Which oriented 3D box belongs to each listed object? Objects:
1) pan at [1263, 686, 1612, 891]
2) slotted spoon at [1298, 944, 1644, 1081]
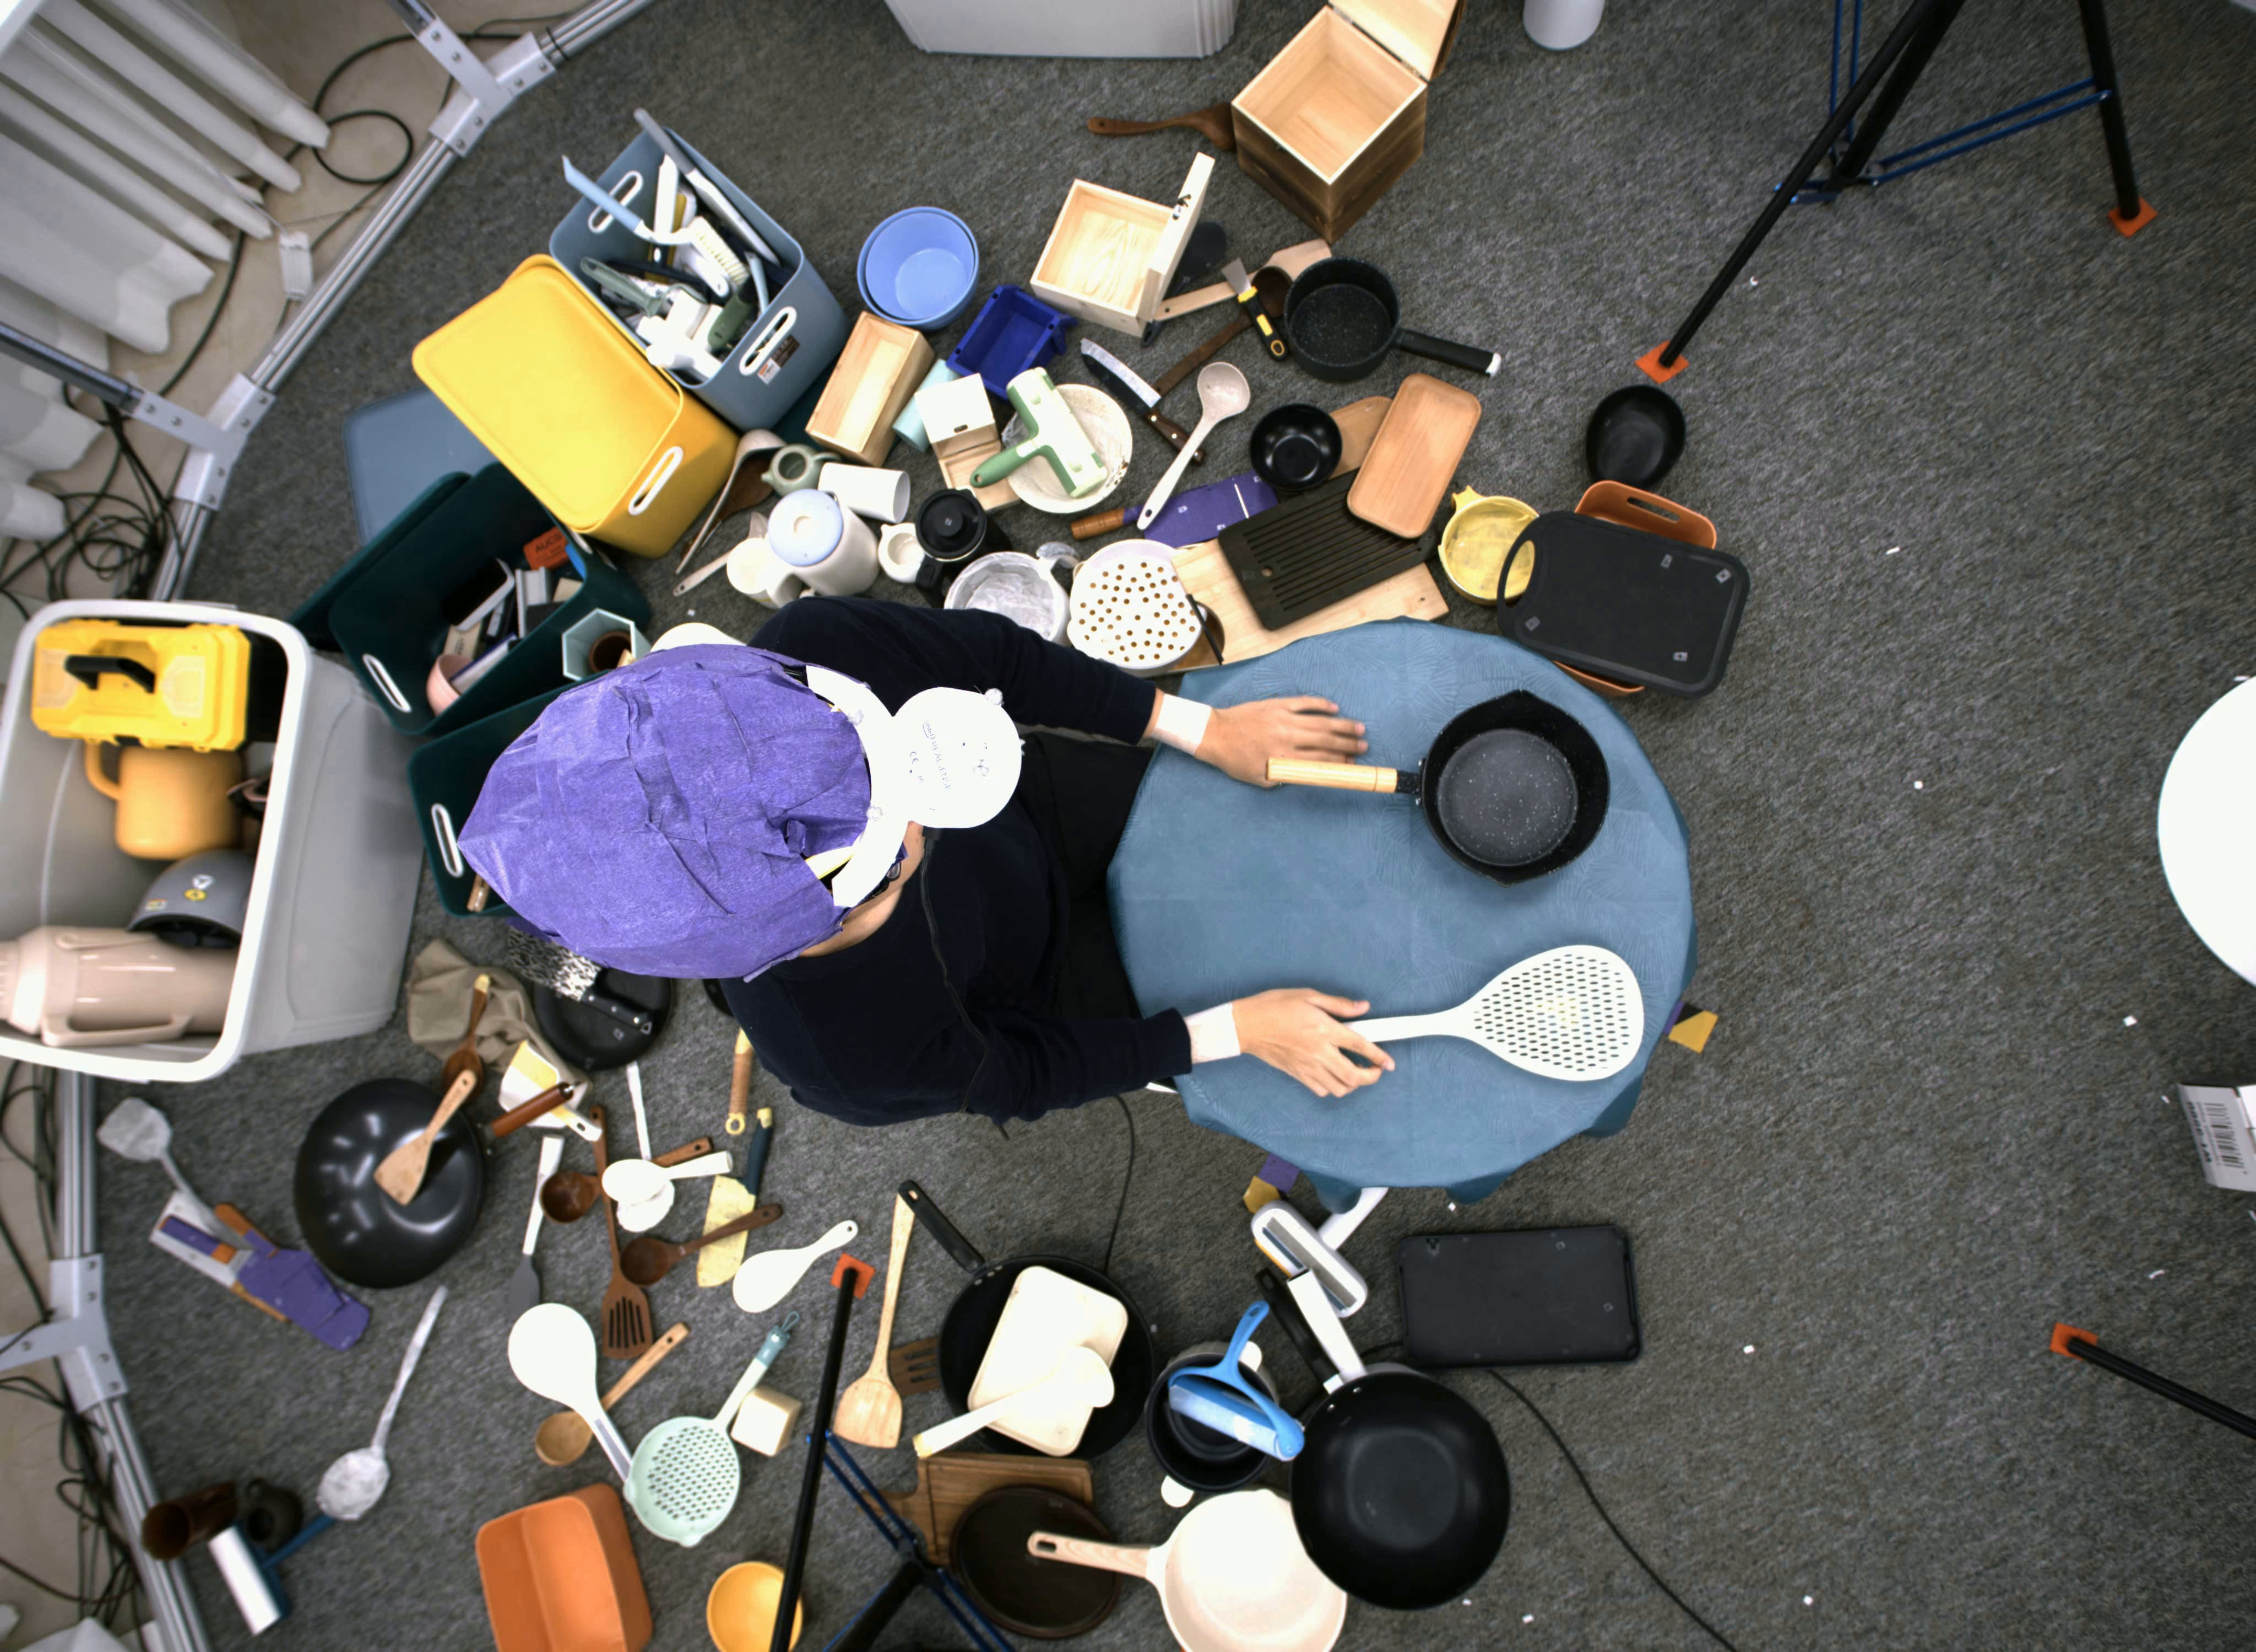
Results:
[{"bbox_3d":[0.311,-0.041,1.404,0.344,0.108,0.207,3,88,9],"label":"pan"},{"bbox_3d":[0.346,0.201,1.417,0.349,0.050,0.136,-8,87,8],"label":"slotted spoon"}]
